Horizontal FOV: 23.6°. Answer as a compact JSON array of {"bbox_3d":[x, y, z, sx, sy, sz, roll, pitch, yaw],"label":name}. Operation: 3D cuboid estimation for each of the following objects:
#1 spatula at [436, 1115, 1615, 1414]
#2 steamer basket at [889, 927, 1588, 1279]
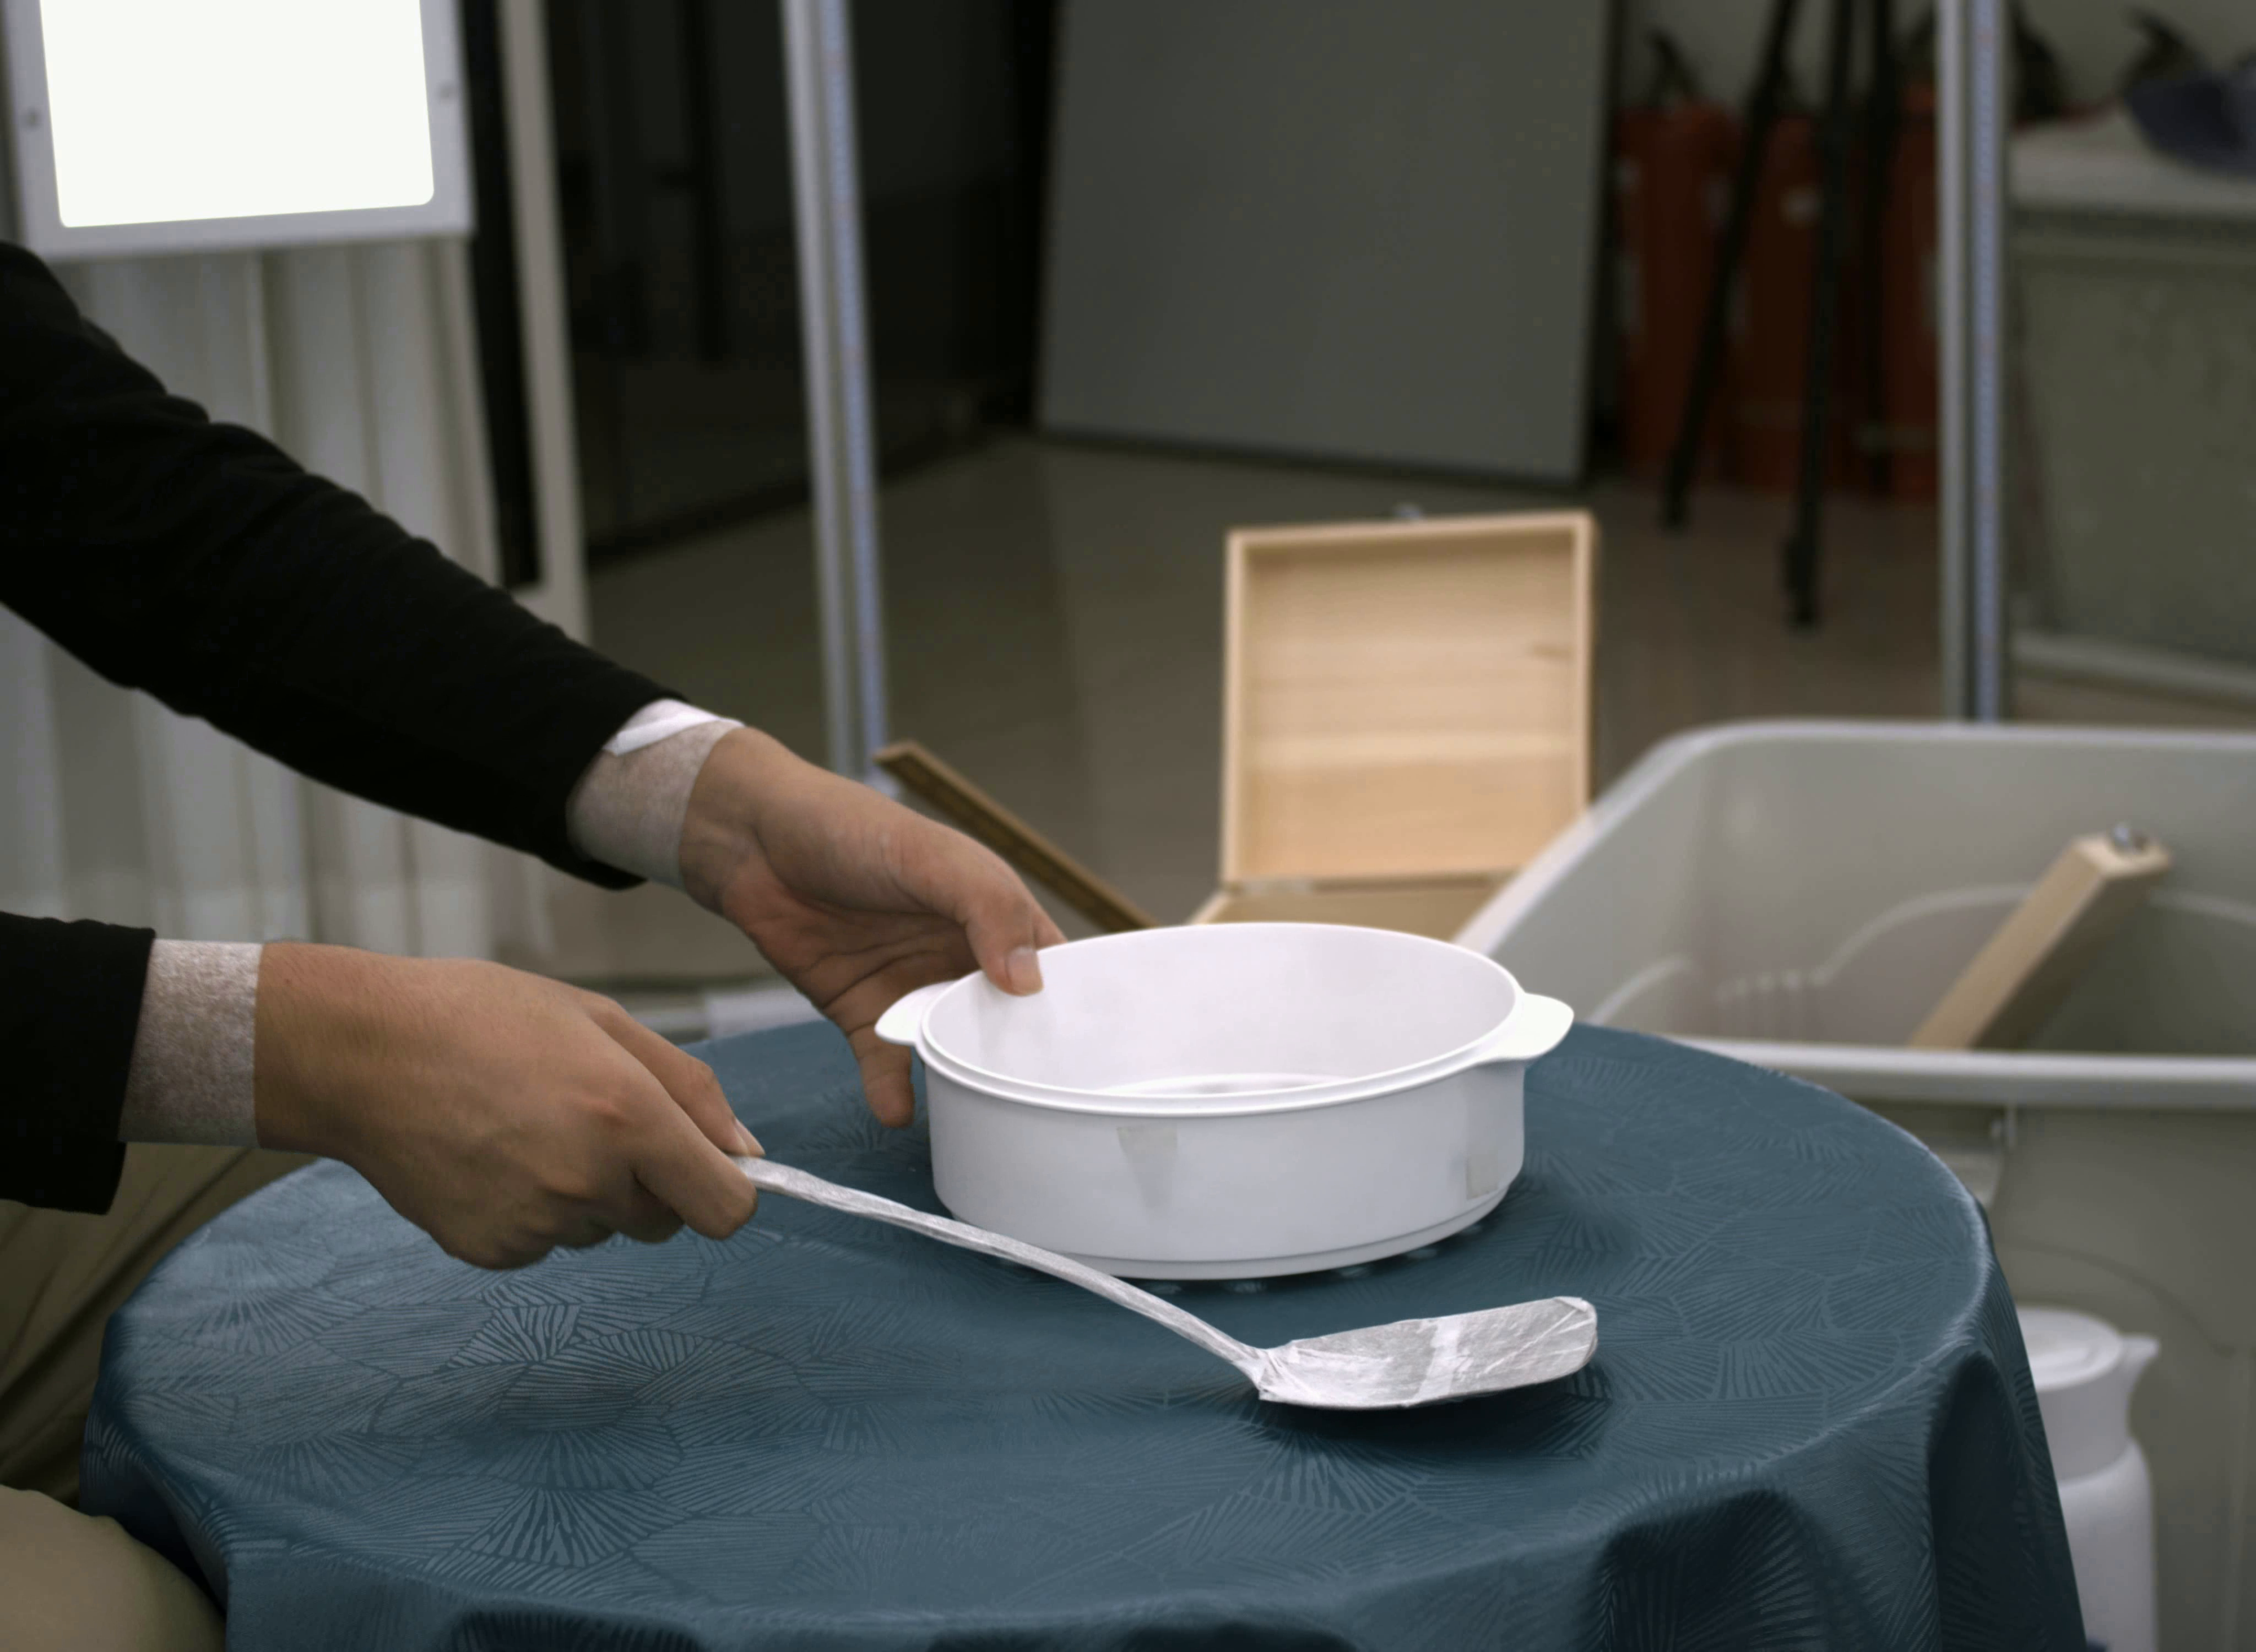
[{"bbox_3d":[-0.037,0.120,1.588,0.363,0.045,0.098,15,16,12],"label":"spatula"},{"bbox_3d":[0.037,0.089,1.742,0.230,0.070,0.200,-1,13,18],"label":"steamer basket"}]
